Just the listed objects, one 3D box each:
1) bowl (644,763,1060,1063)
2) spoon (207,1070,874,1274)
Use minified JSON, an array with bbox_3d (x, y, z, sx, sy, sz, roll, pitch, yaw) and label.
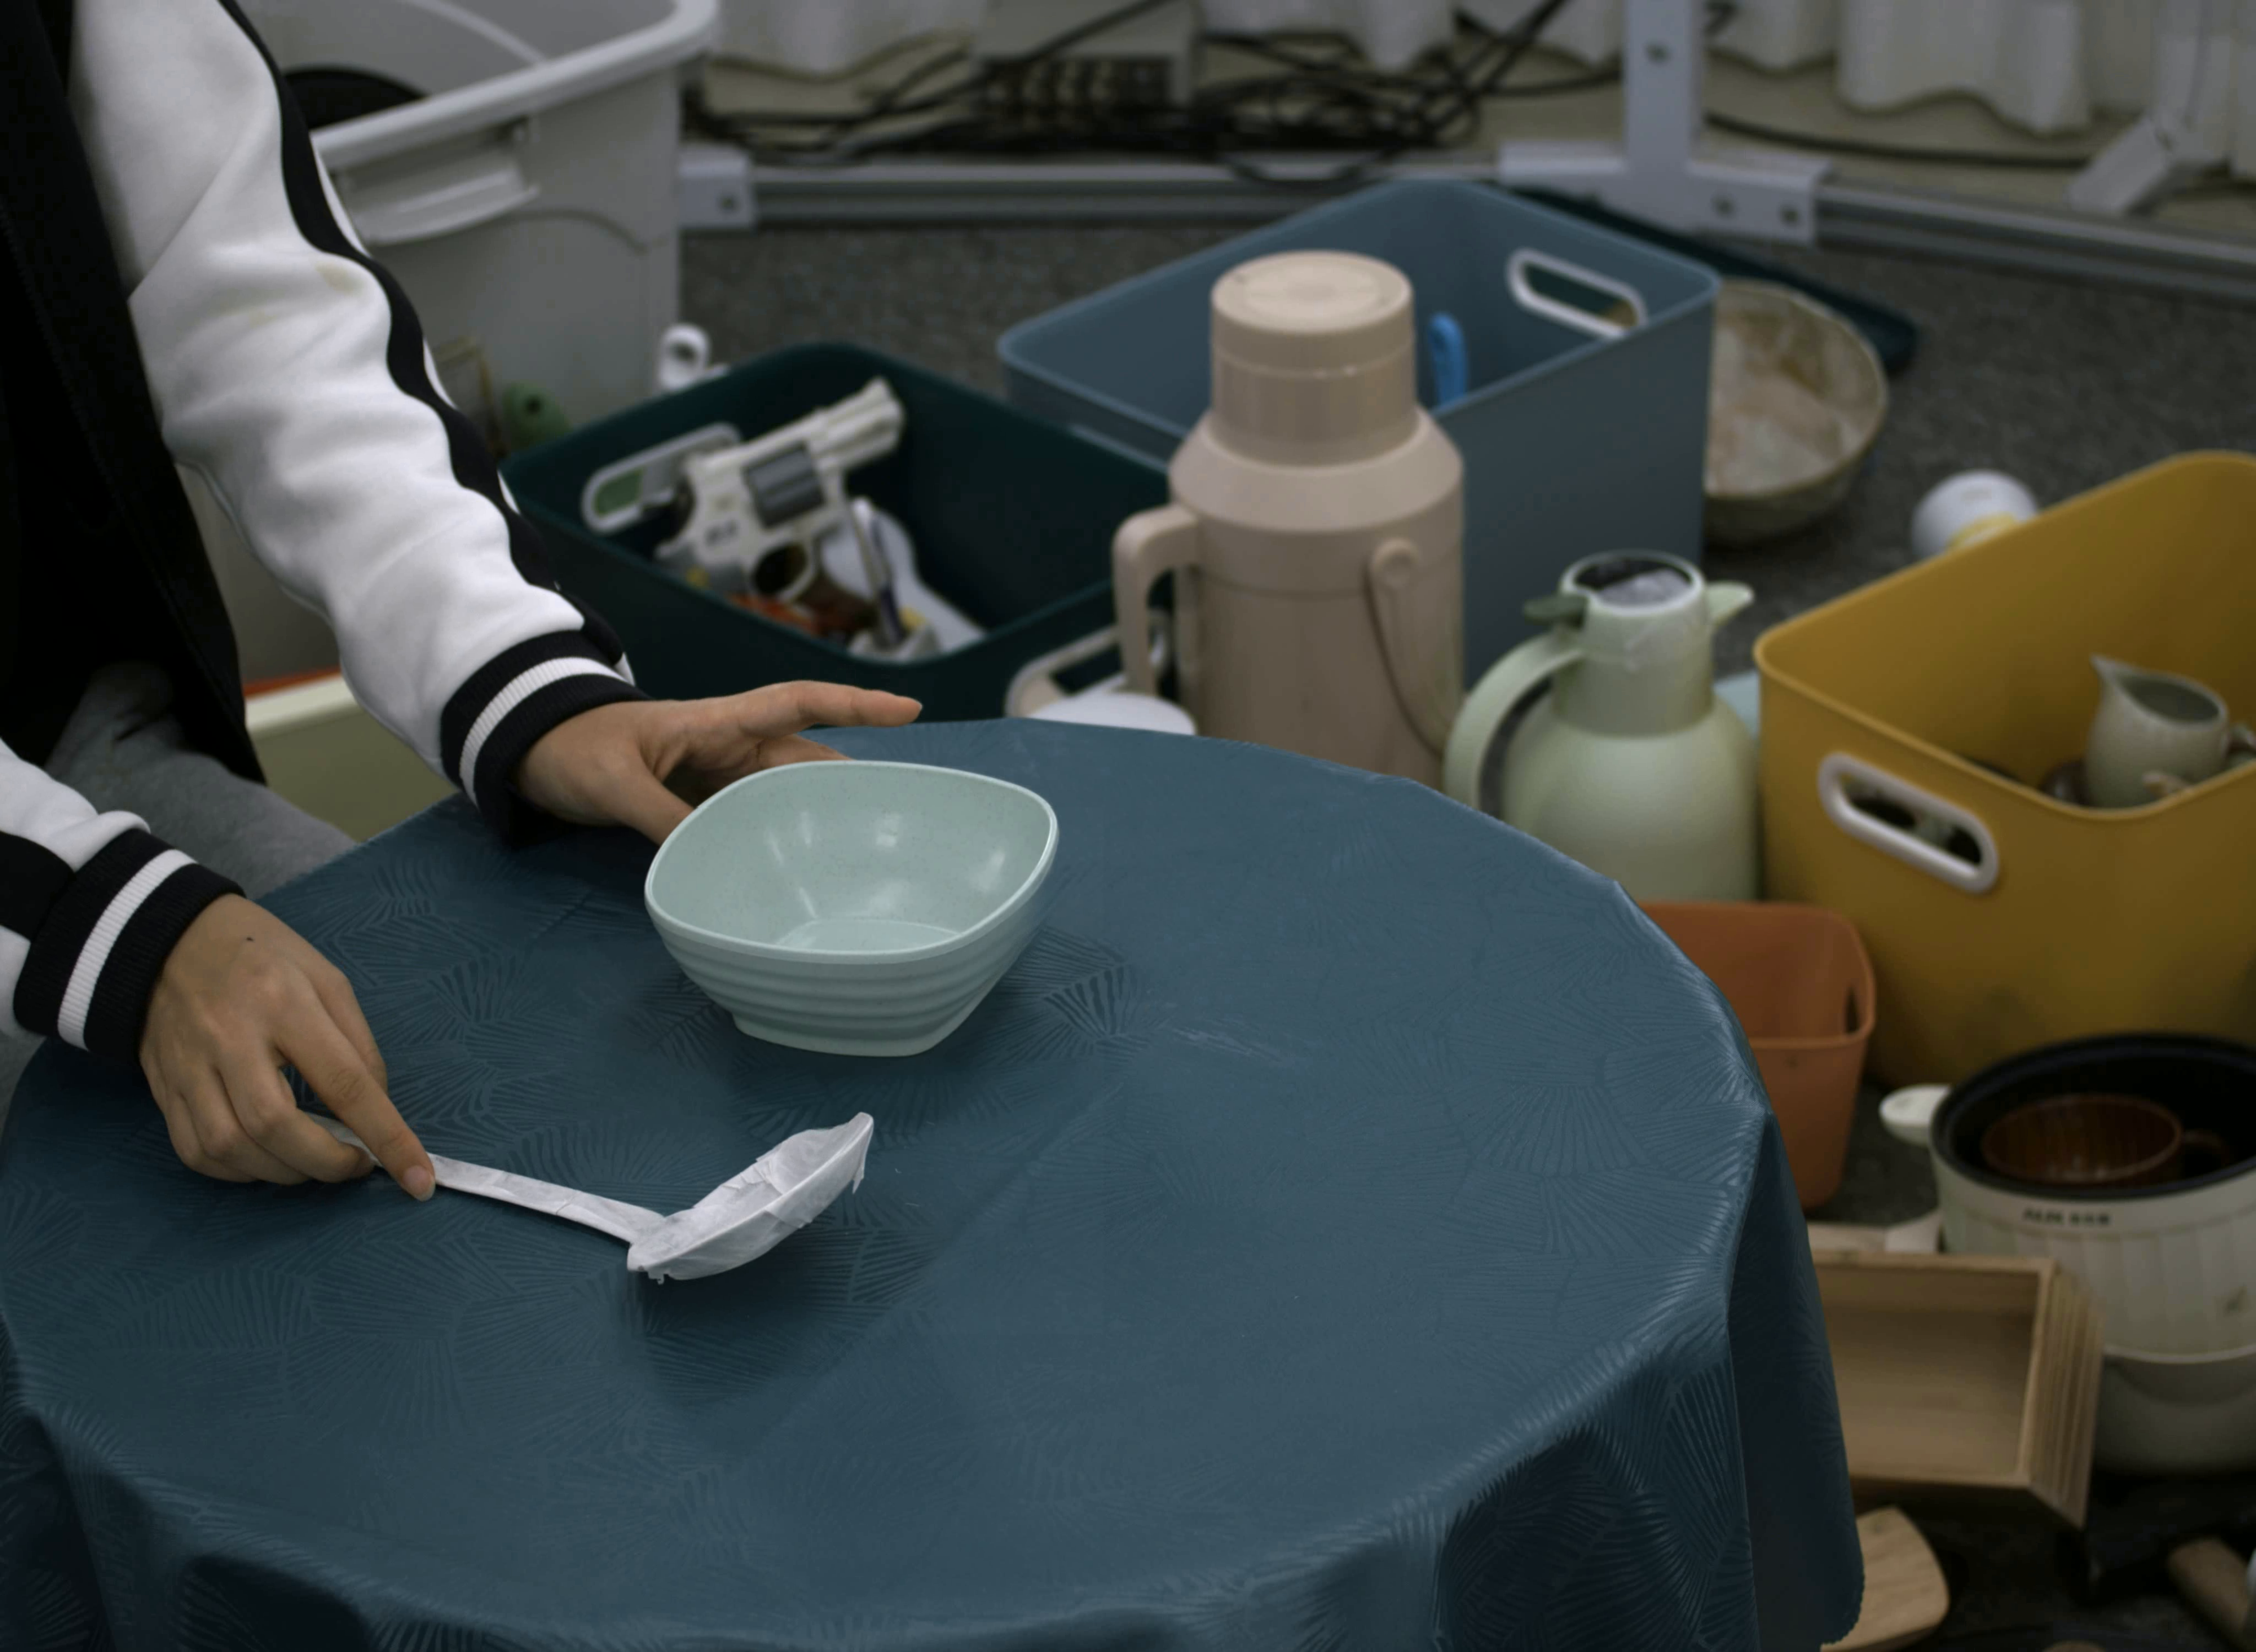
[{"bbox_3d":[-0.095,0.036,1.978,0.151,0.058,0.154,-2,28,2],"label":"bowl"},{"bbox_3d":[-0.202,0.096,1.871,0.276,0.059,0.102,16,27,32],"label":"spoon"}]
